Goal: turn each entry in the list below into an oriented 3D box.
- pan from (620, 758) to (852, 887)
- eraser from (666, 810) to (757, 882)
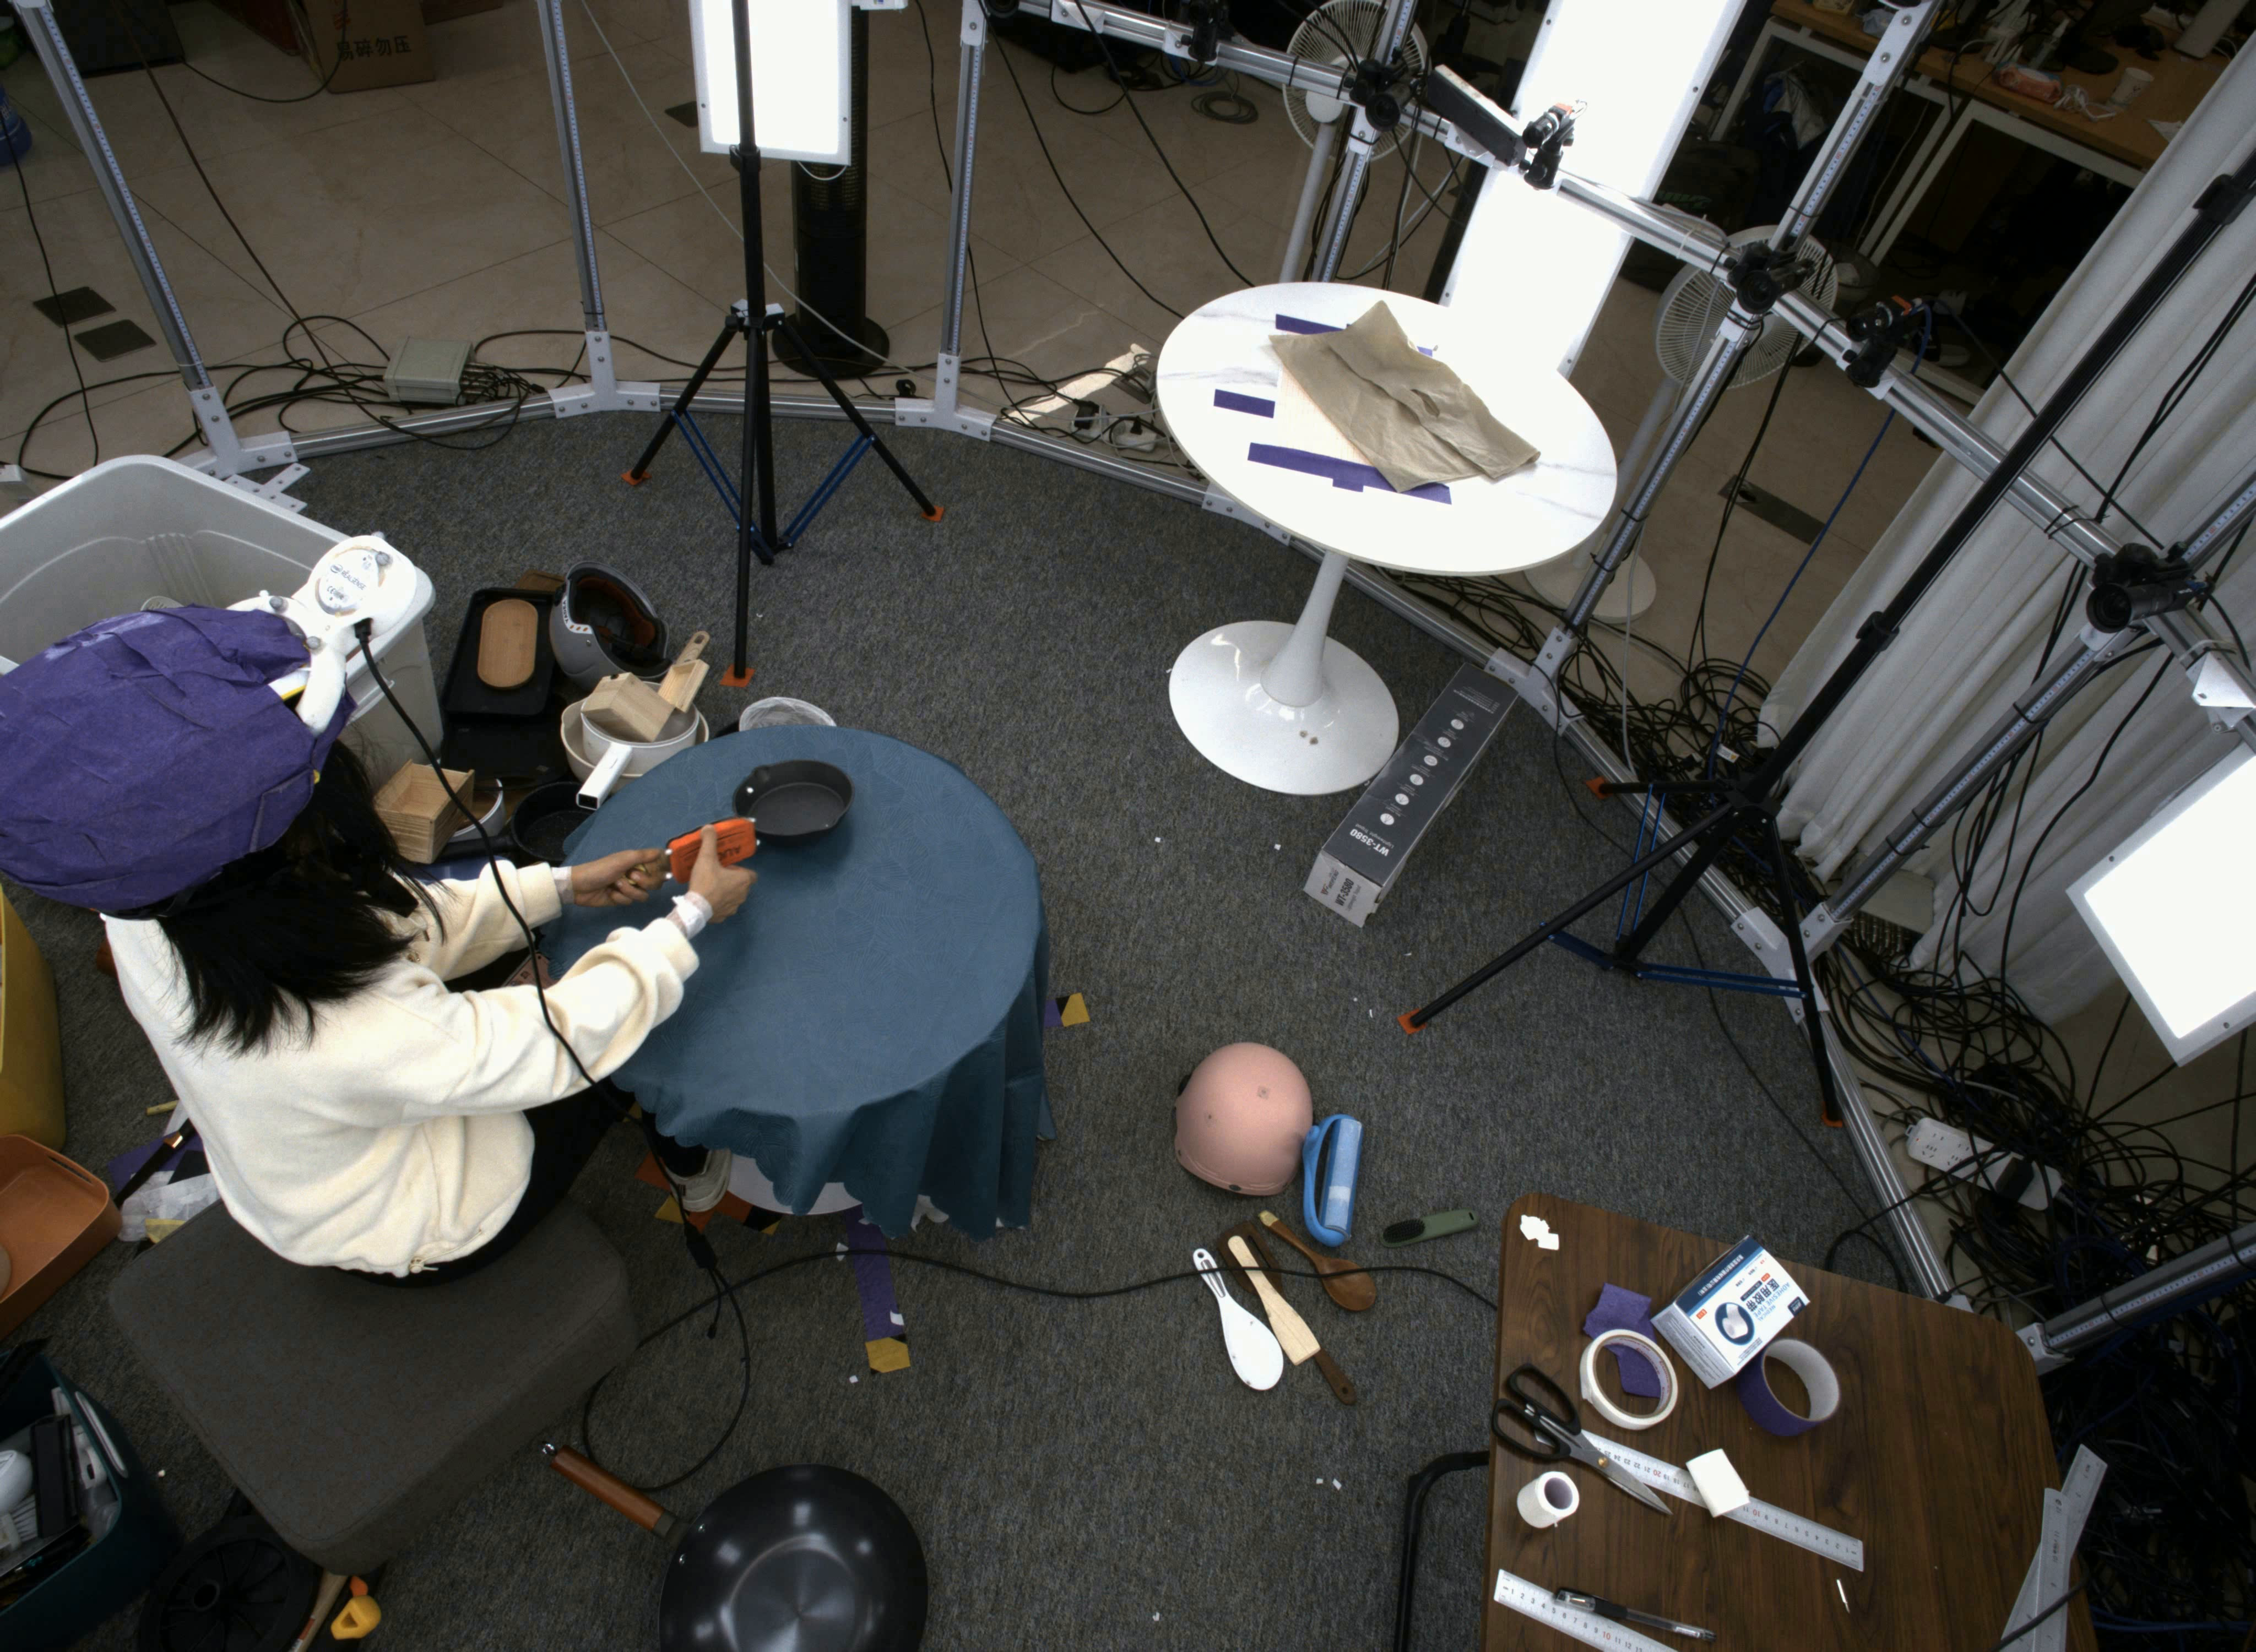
[{"bbox_3d":[-0.497,0.002,1.638,0.163,0.051,0.325,35,48,30],"label":"pan"},{"bbox_3d":[-0.504,0.022,1.563,0.109,0.061,0.022,-24,45,-37],"label":"eraser"}]
